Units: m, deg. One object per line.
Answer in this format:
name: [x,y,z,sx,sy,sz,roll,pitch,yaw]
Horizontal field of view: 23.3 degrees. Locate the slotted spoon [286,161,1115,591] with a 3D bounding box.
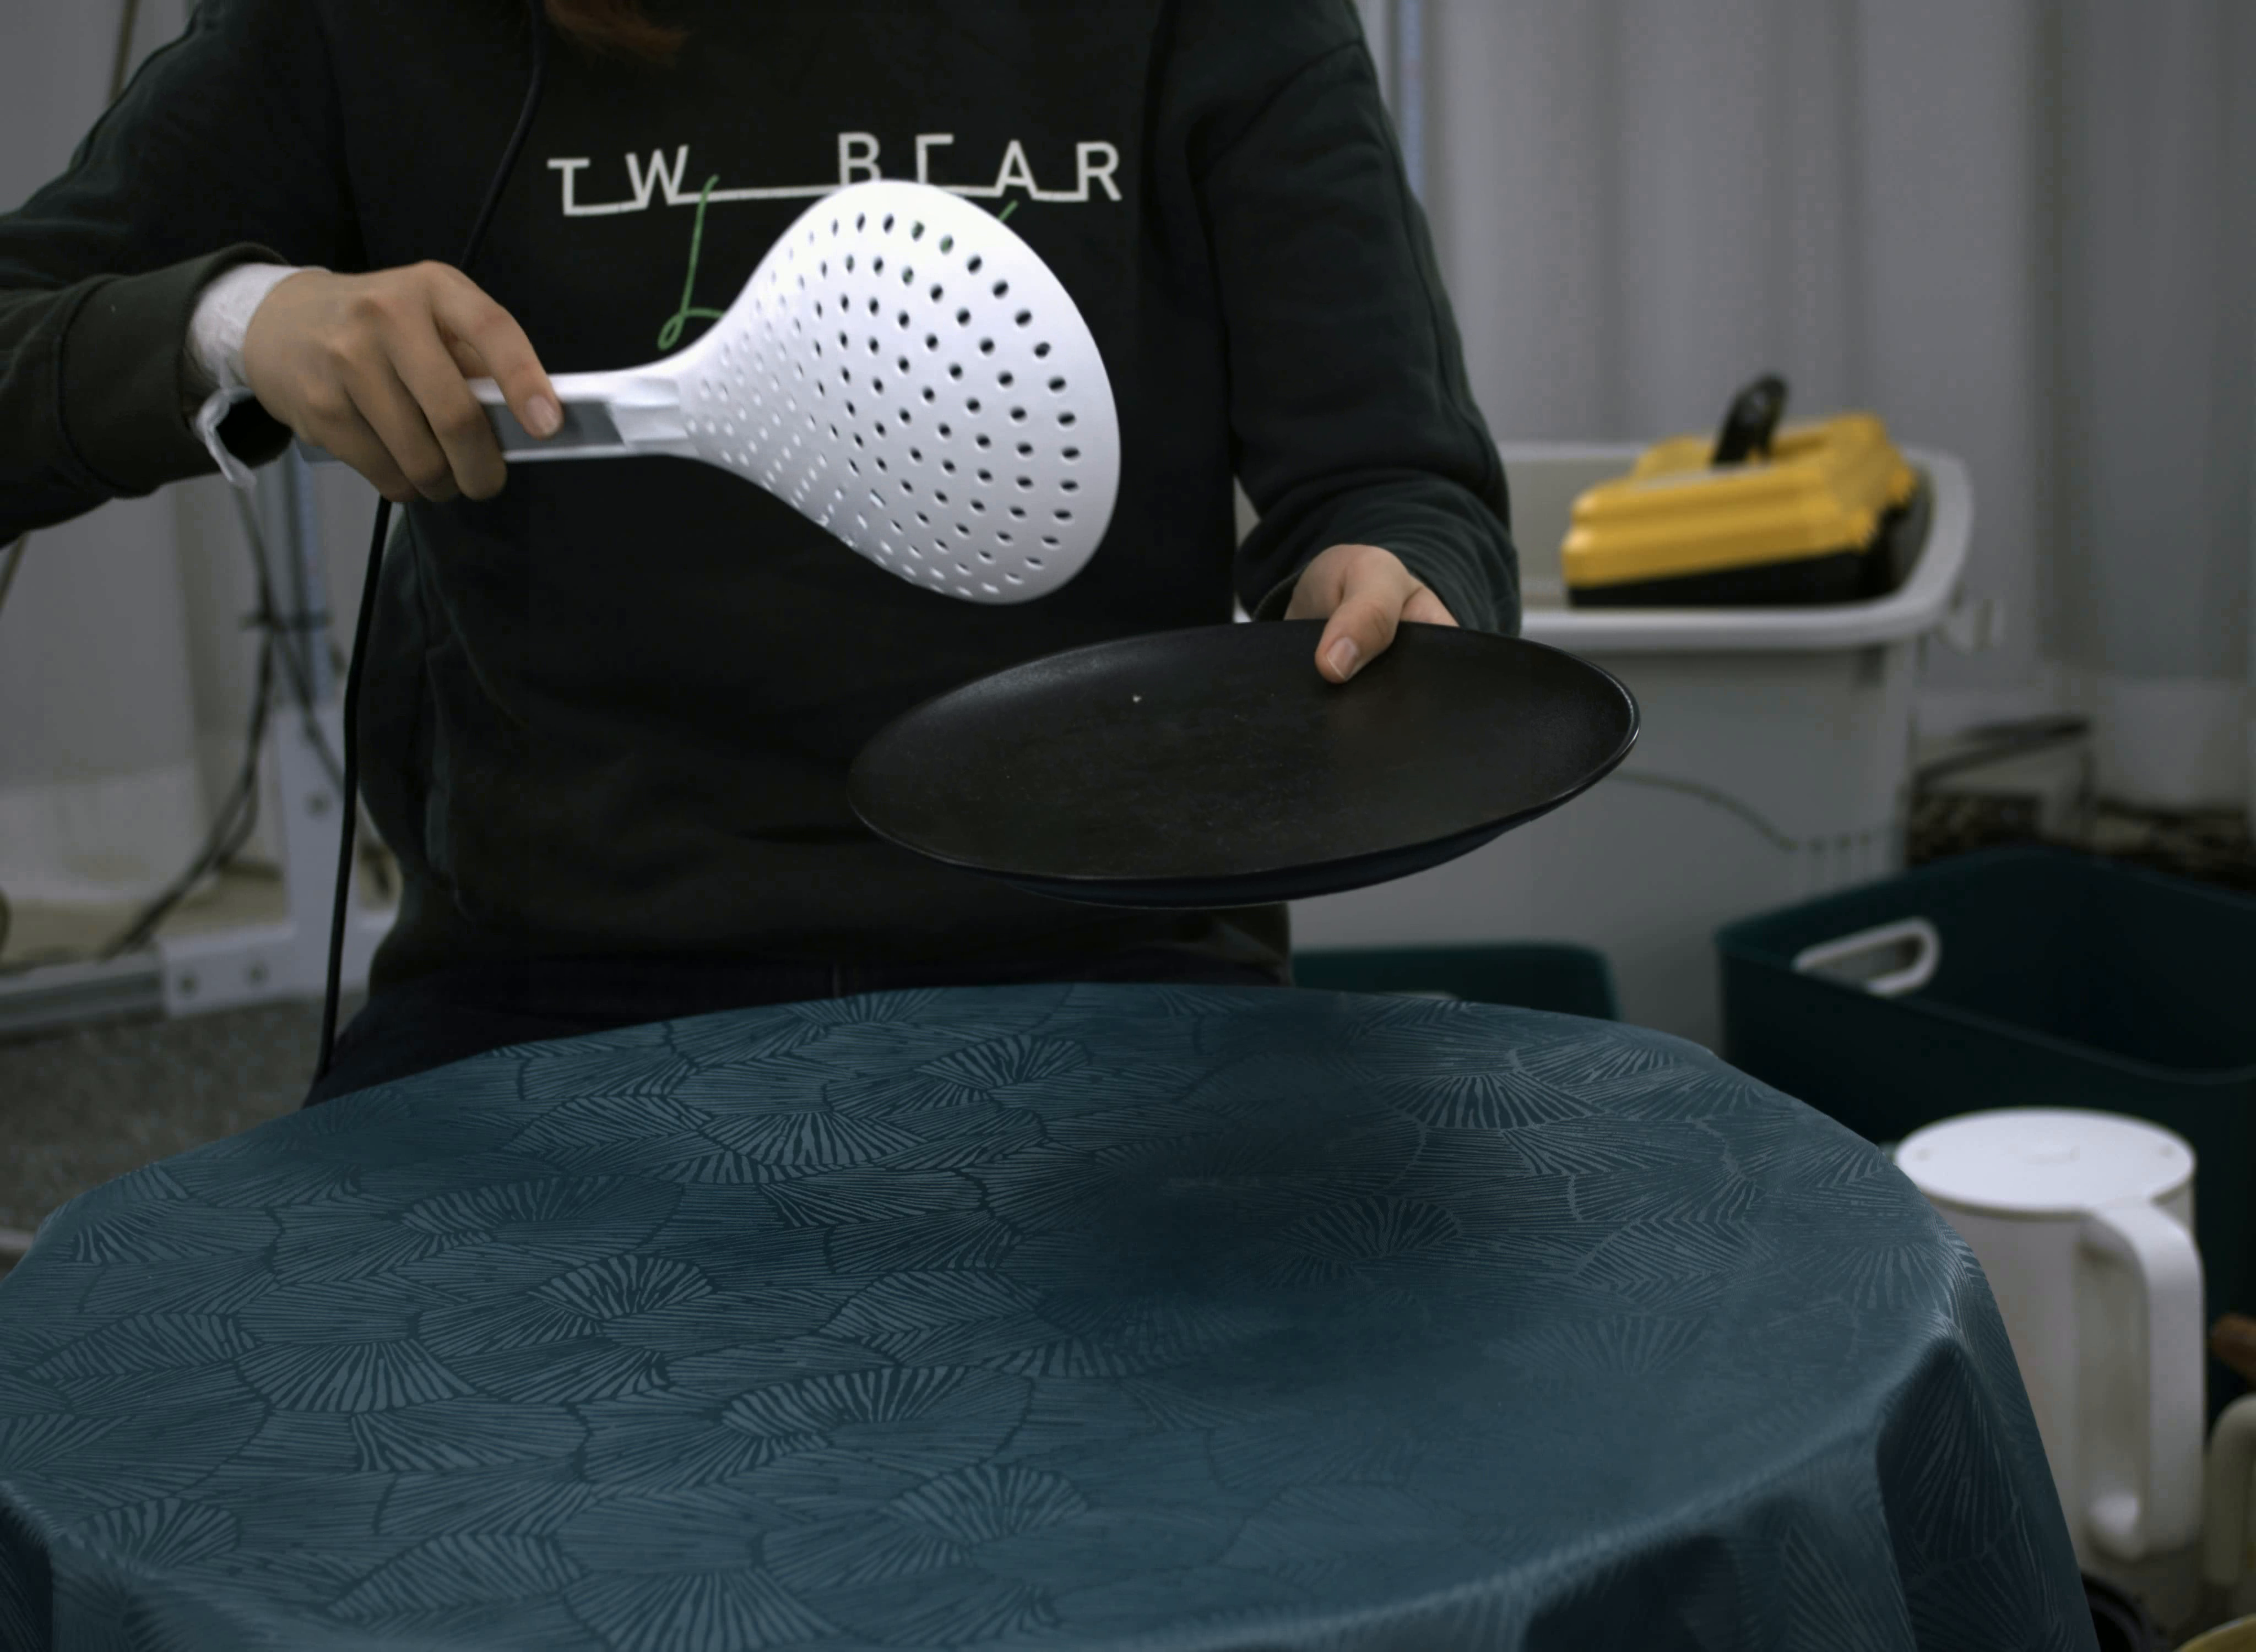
slotted spoon: [-0.144,-0.134,1.725,0.351,0.135,0.046,3,22,45]

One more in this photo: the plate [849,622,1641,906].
plate: [0.036,-0.017,1.674,0.243,0.023,0.246,-6,19,2]
